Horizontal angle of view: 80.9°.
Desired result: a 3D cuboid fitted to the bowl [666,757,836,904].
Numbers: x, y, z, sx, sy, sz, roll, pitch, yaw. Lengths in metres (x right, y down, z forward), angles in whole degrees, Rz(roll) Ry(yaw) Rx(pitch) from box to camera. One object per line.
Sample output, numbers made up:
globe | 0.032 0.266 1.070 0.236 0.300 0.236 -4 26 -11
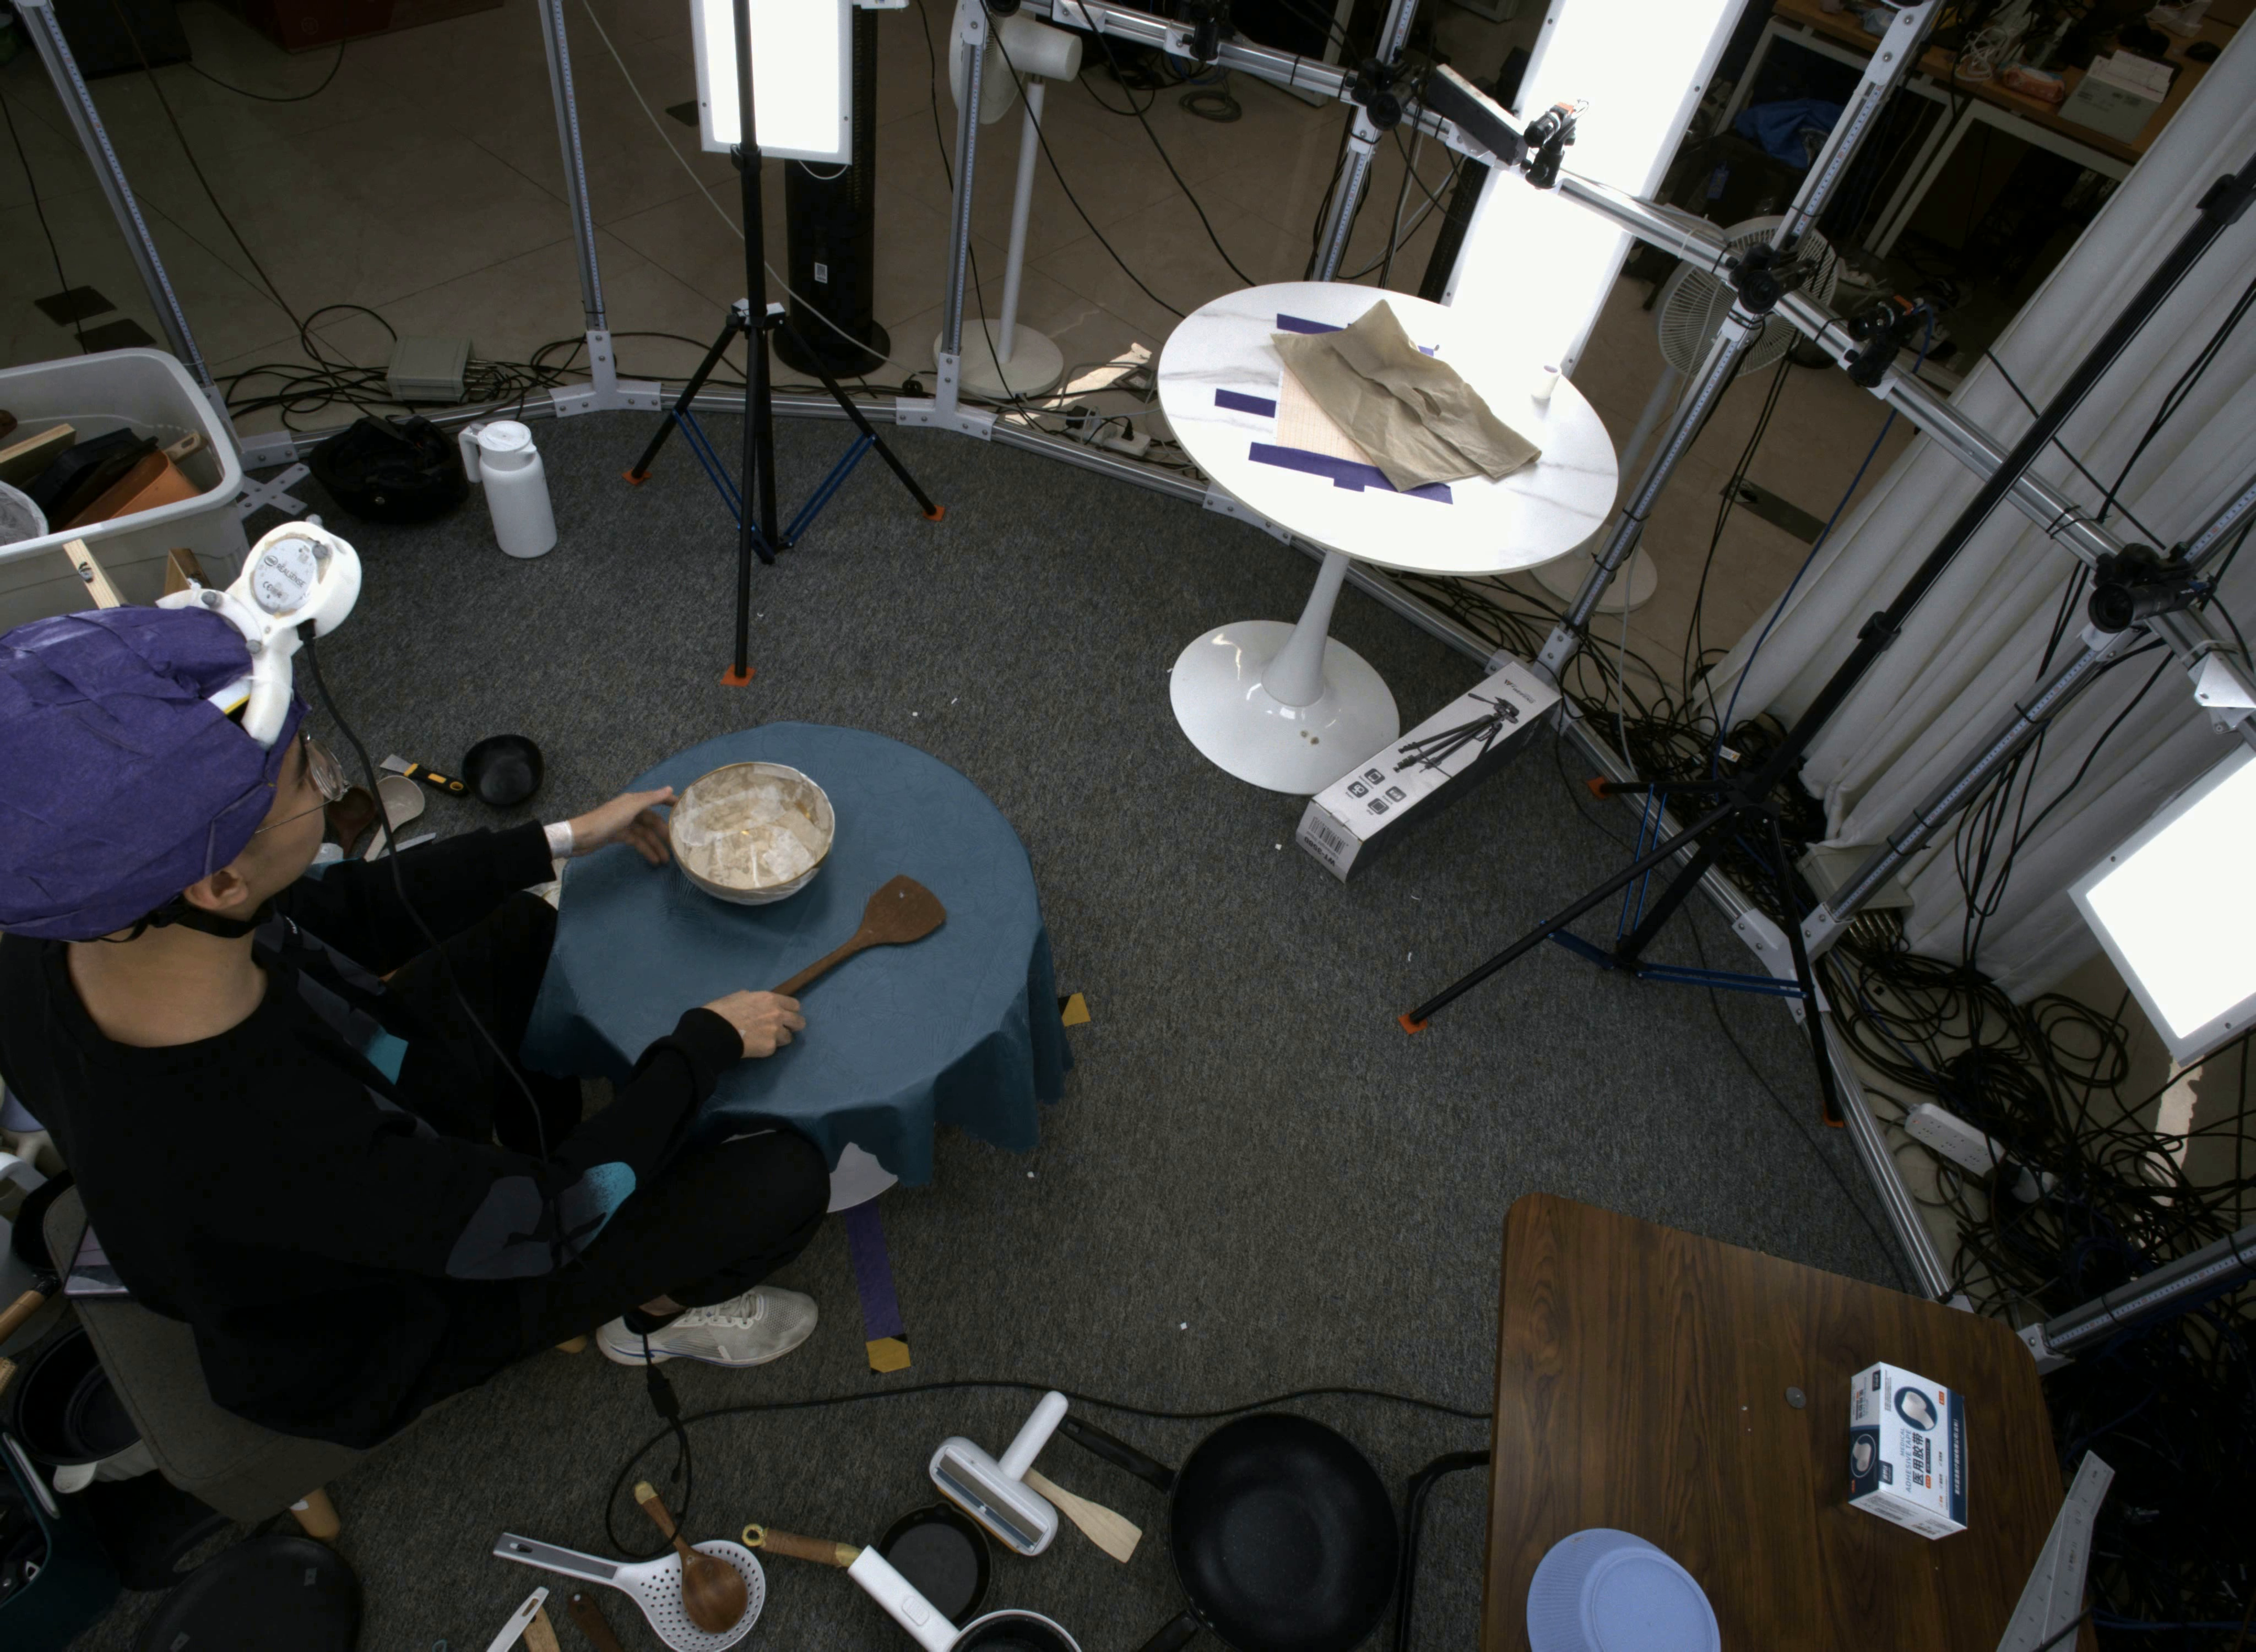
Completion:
bowl | -0.477 0.020 1.639 0.214 0.096 0.211 8 54 -9

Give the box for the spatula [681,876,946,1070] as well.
spatula | -0.385 0.179 1.589 0.094 0.016 0.387 40 52 18
